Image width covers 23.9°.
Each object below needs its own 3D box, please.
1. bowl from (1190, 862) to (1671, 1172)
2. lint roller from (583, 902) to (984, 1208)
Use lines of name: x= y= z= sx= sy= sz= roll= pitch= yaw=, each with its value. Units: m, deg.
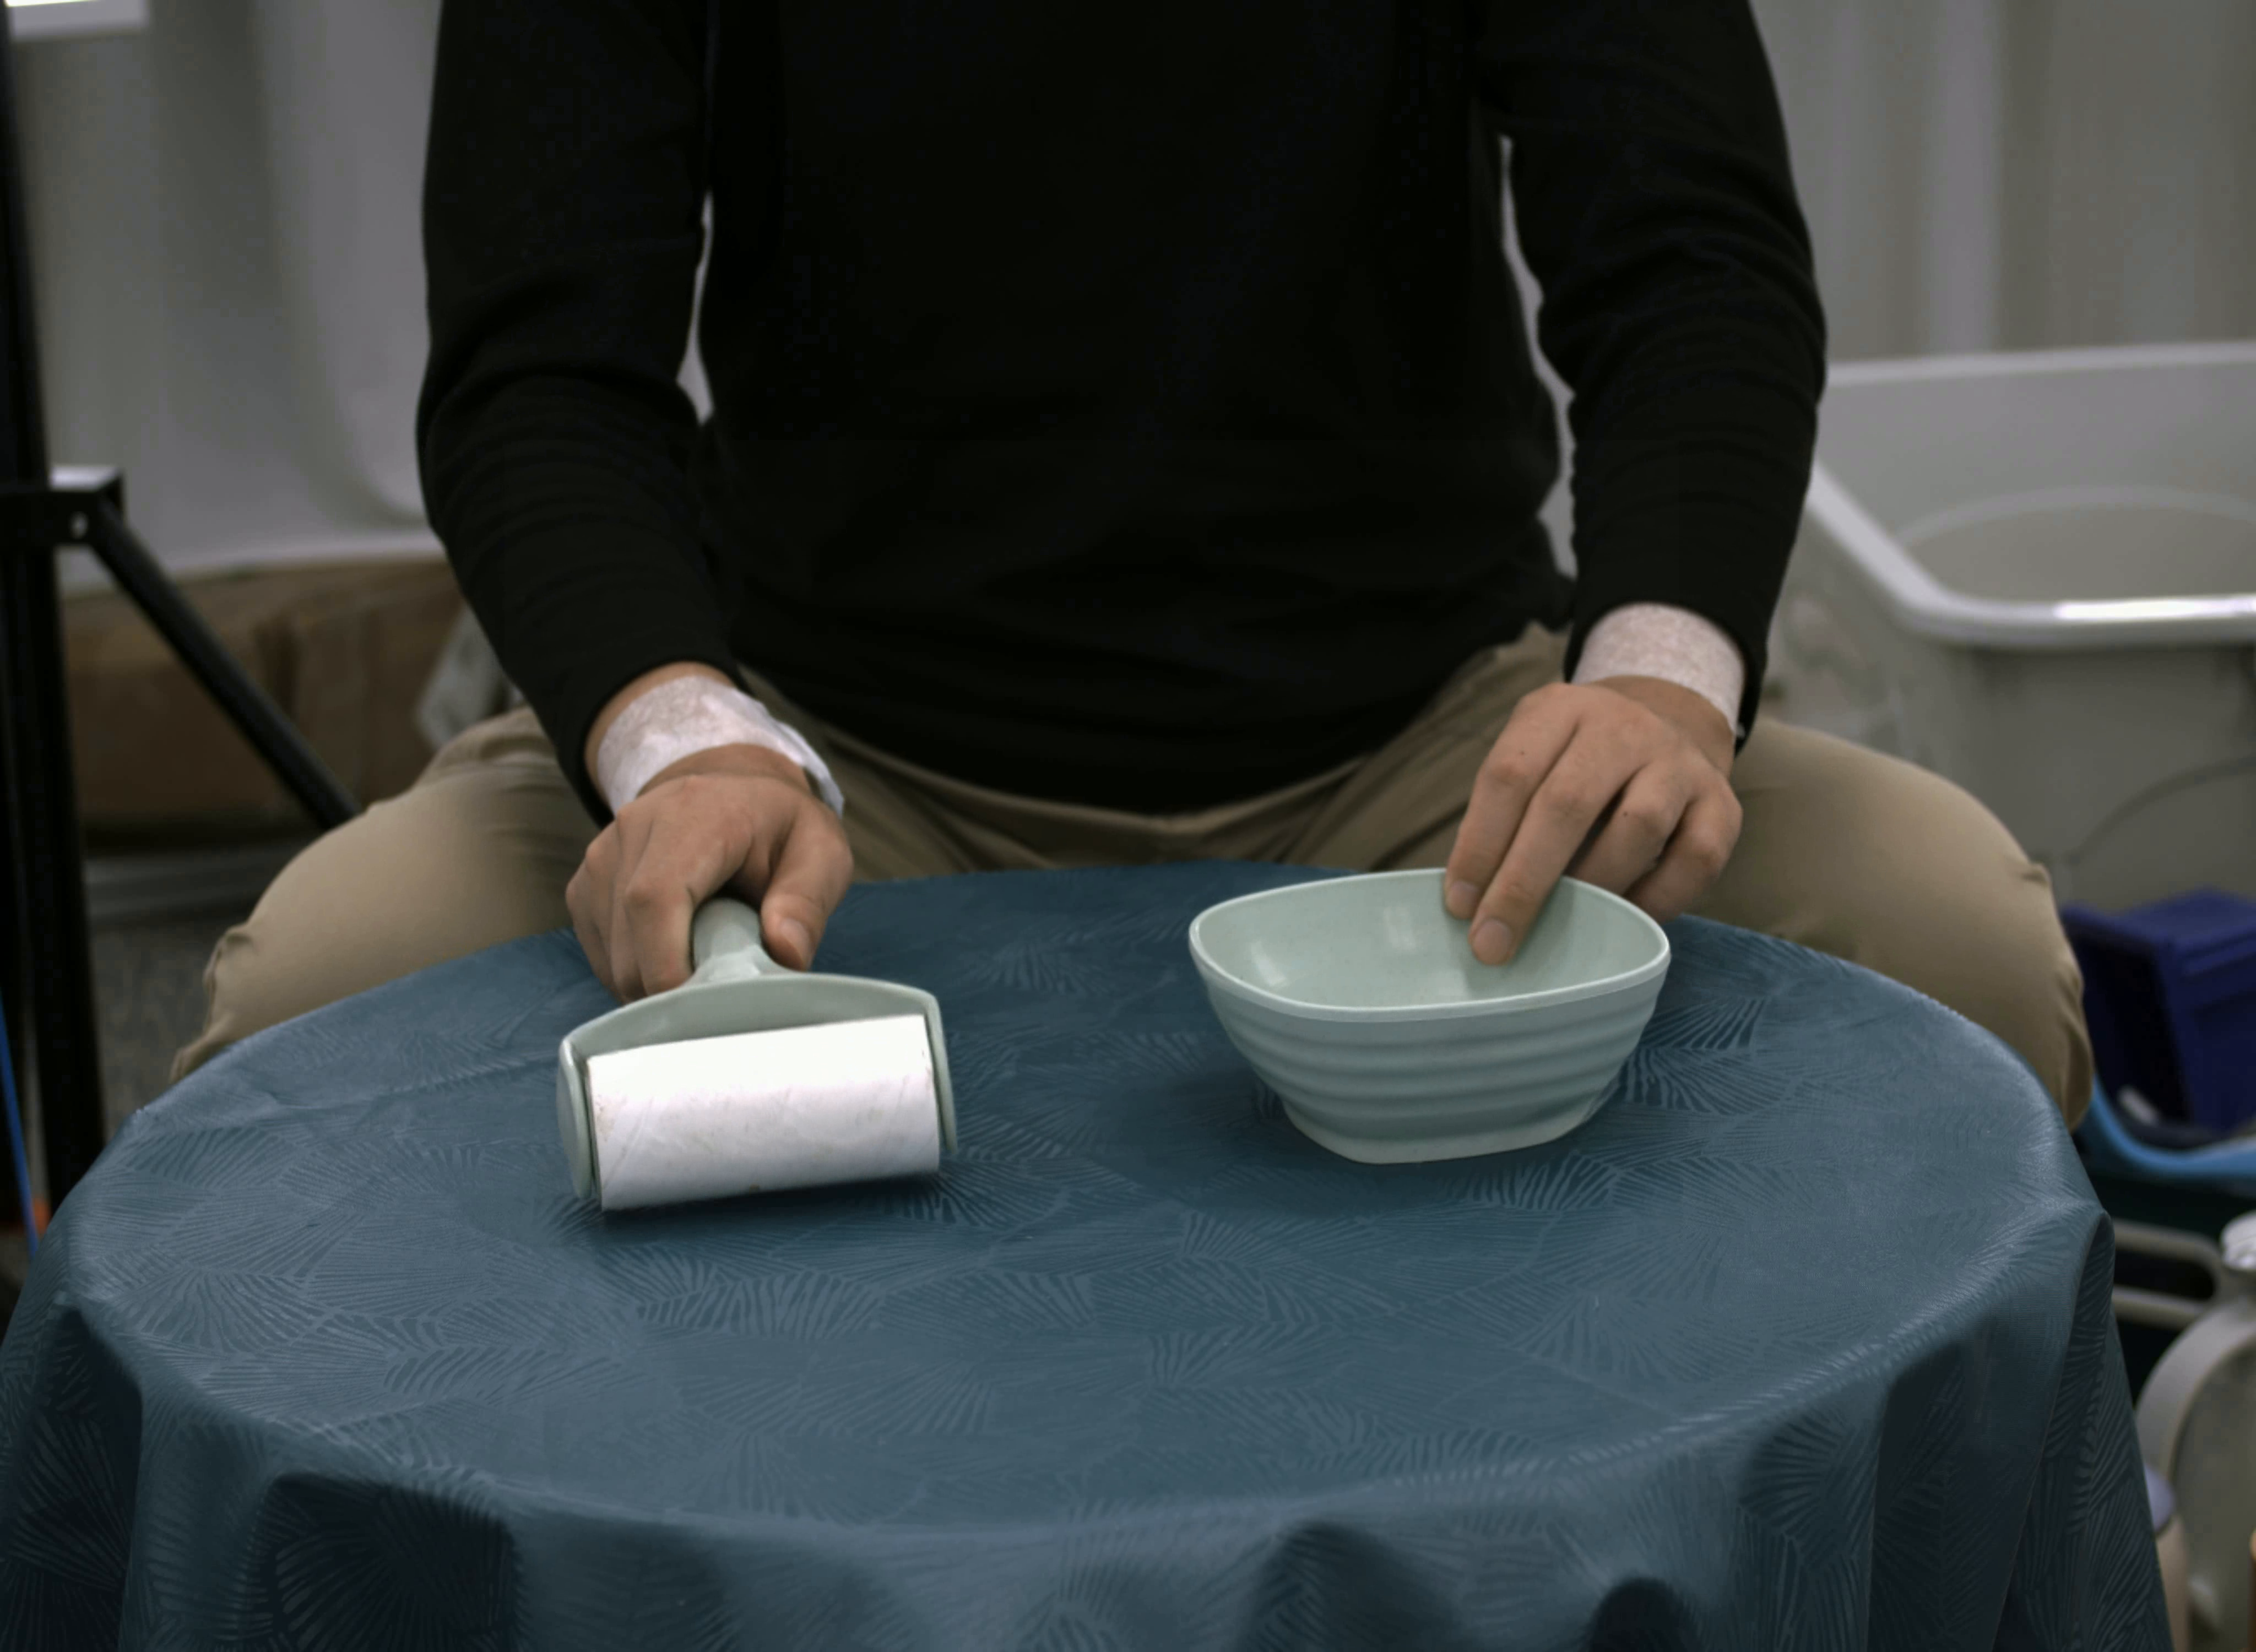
bowl: x=0.092 y=0.061 z=1.605 sx=0.151 sy=0.058 sz=0.152 roll=-3 pitch=17 yaw=0
lint roller: x=-0.113 y=0.055 z=1.630 sx=0.115 sy=0.048 sz=0.200 roll=-9 pitch=23 yaw=-6
